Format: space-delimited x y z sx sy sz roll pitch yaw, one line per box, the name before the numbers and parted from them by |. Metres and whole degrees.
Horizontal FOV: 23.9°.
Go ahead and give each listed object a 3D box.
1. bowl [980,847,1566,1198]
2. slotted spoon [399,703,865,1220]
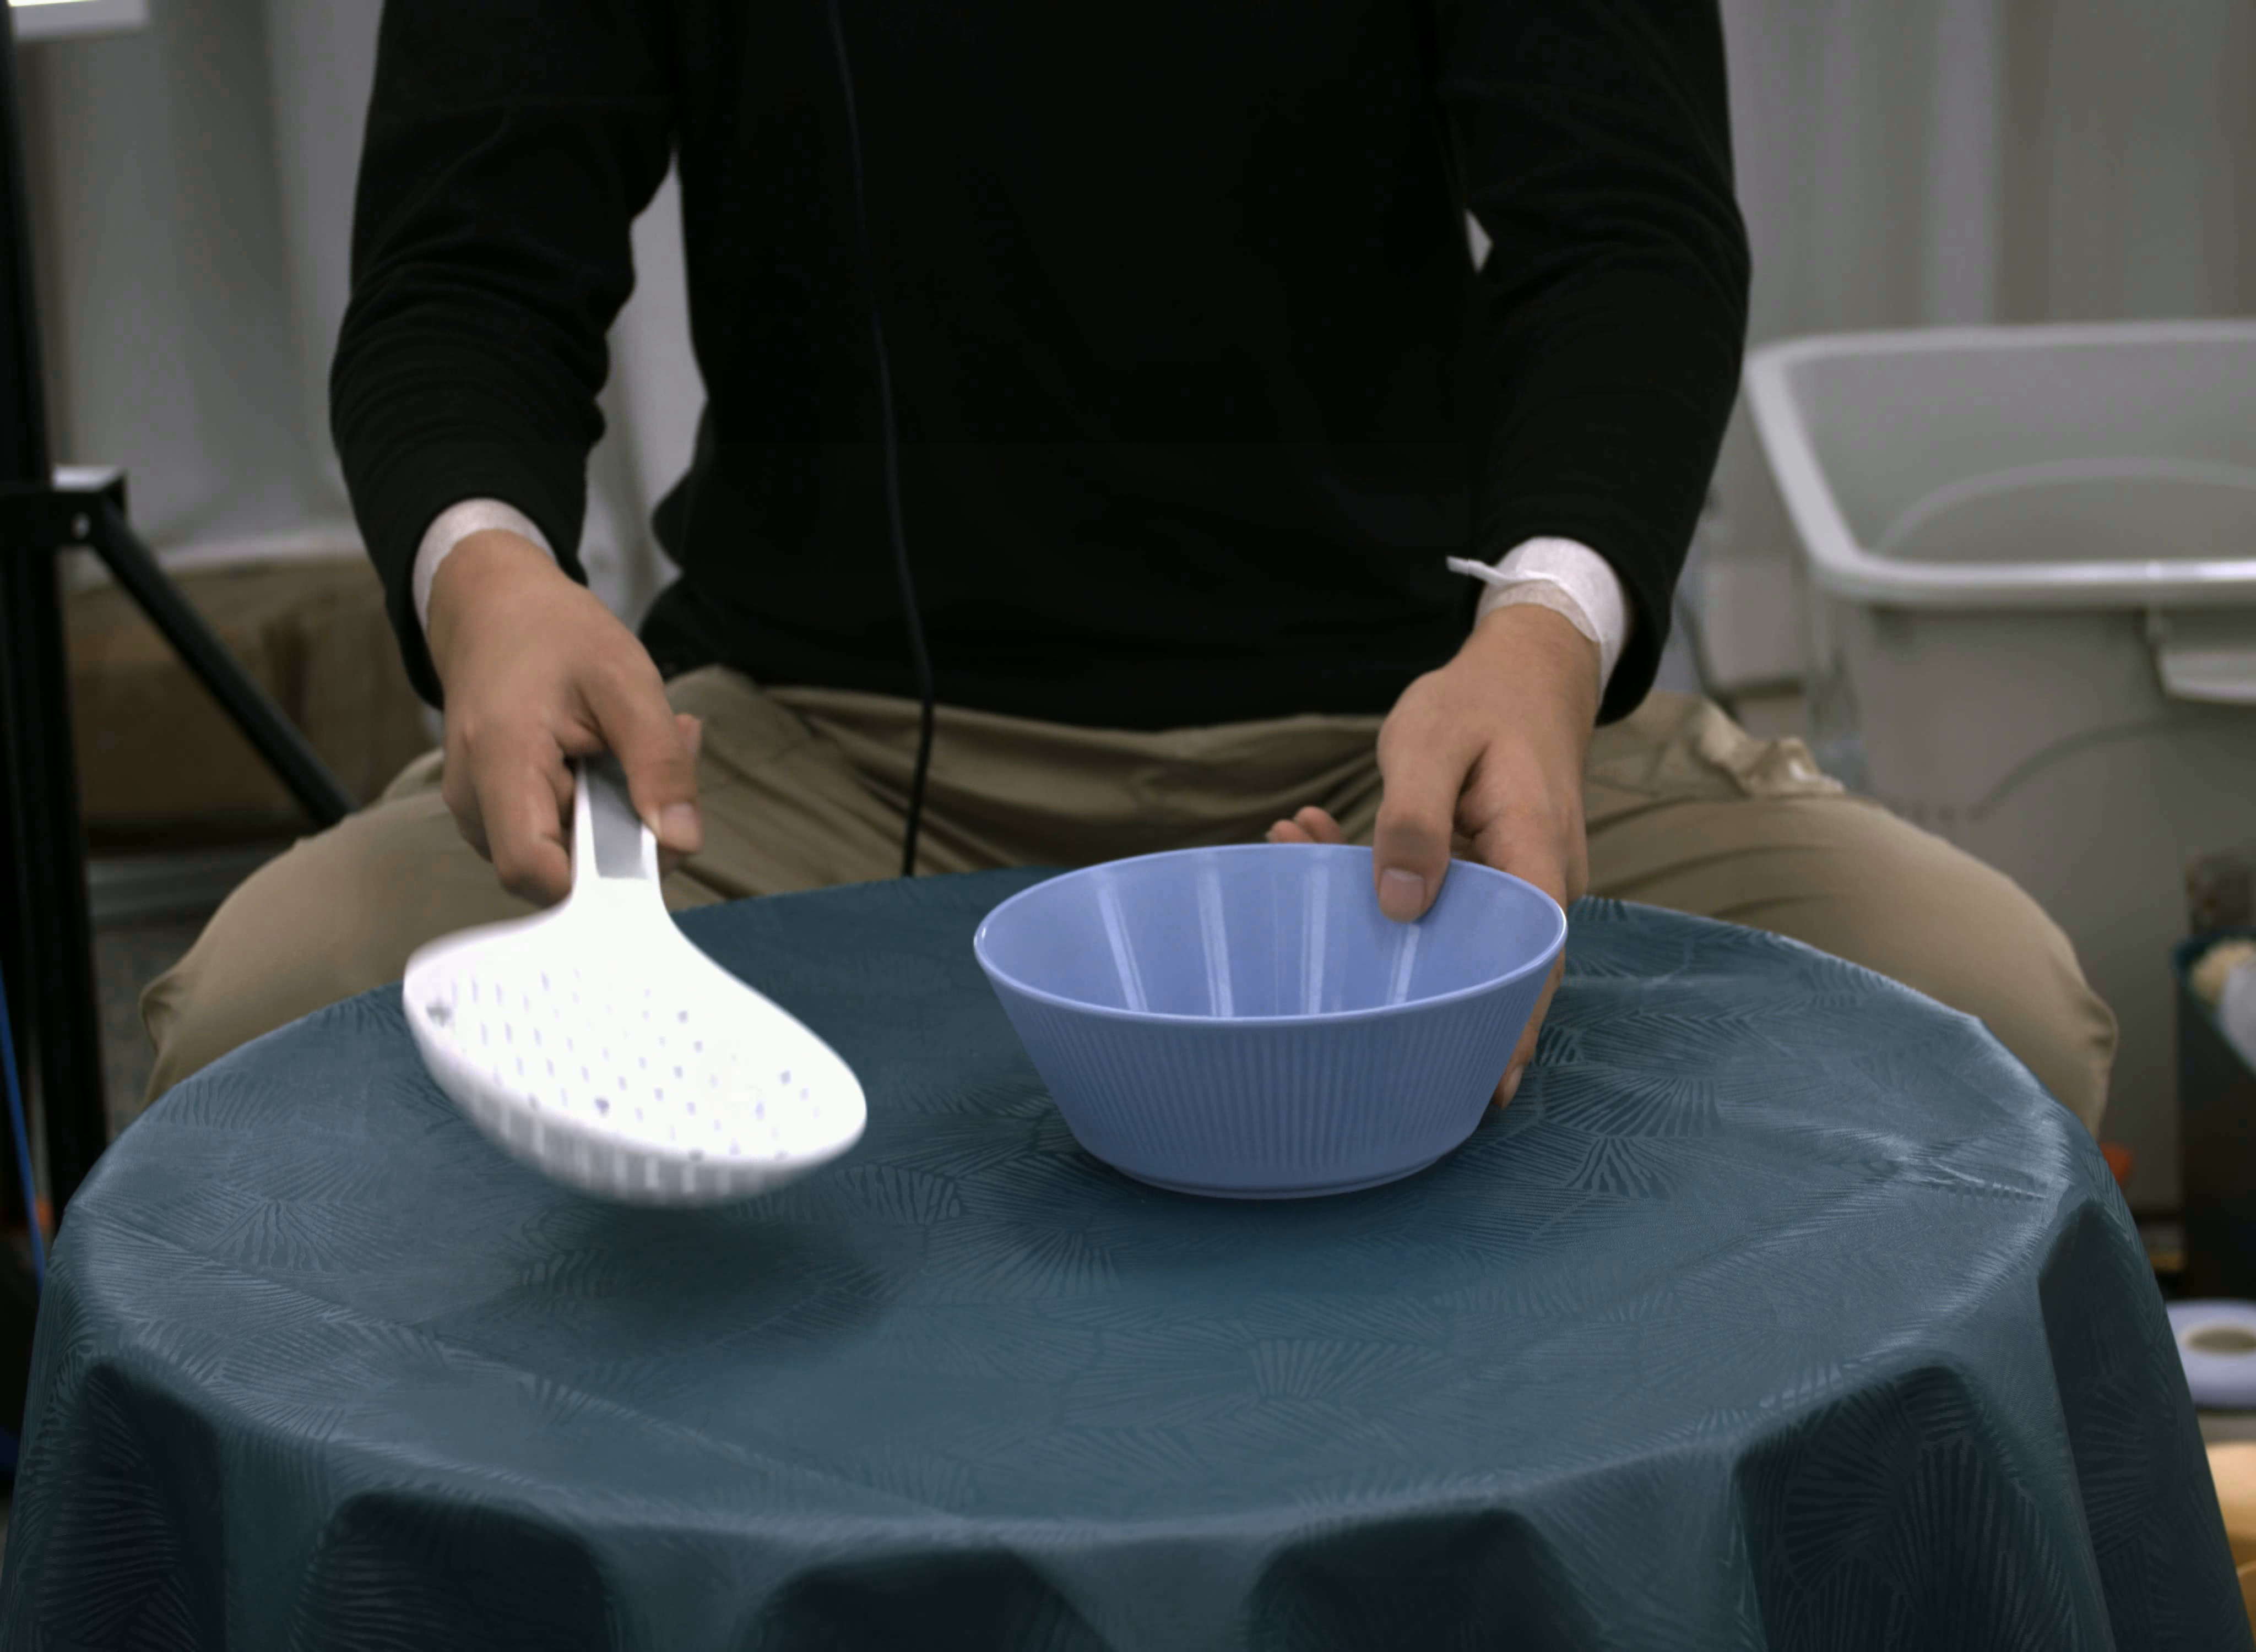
bowl | 0.044 0.061 1.587 0.175 0.070 0.177 -2 15 -1
slotted spoon | -0.154 0.032 1.610 0.134 0.046 0.353 12 25 -11
